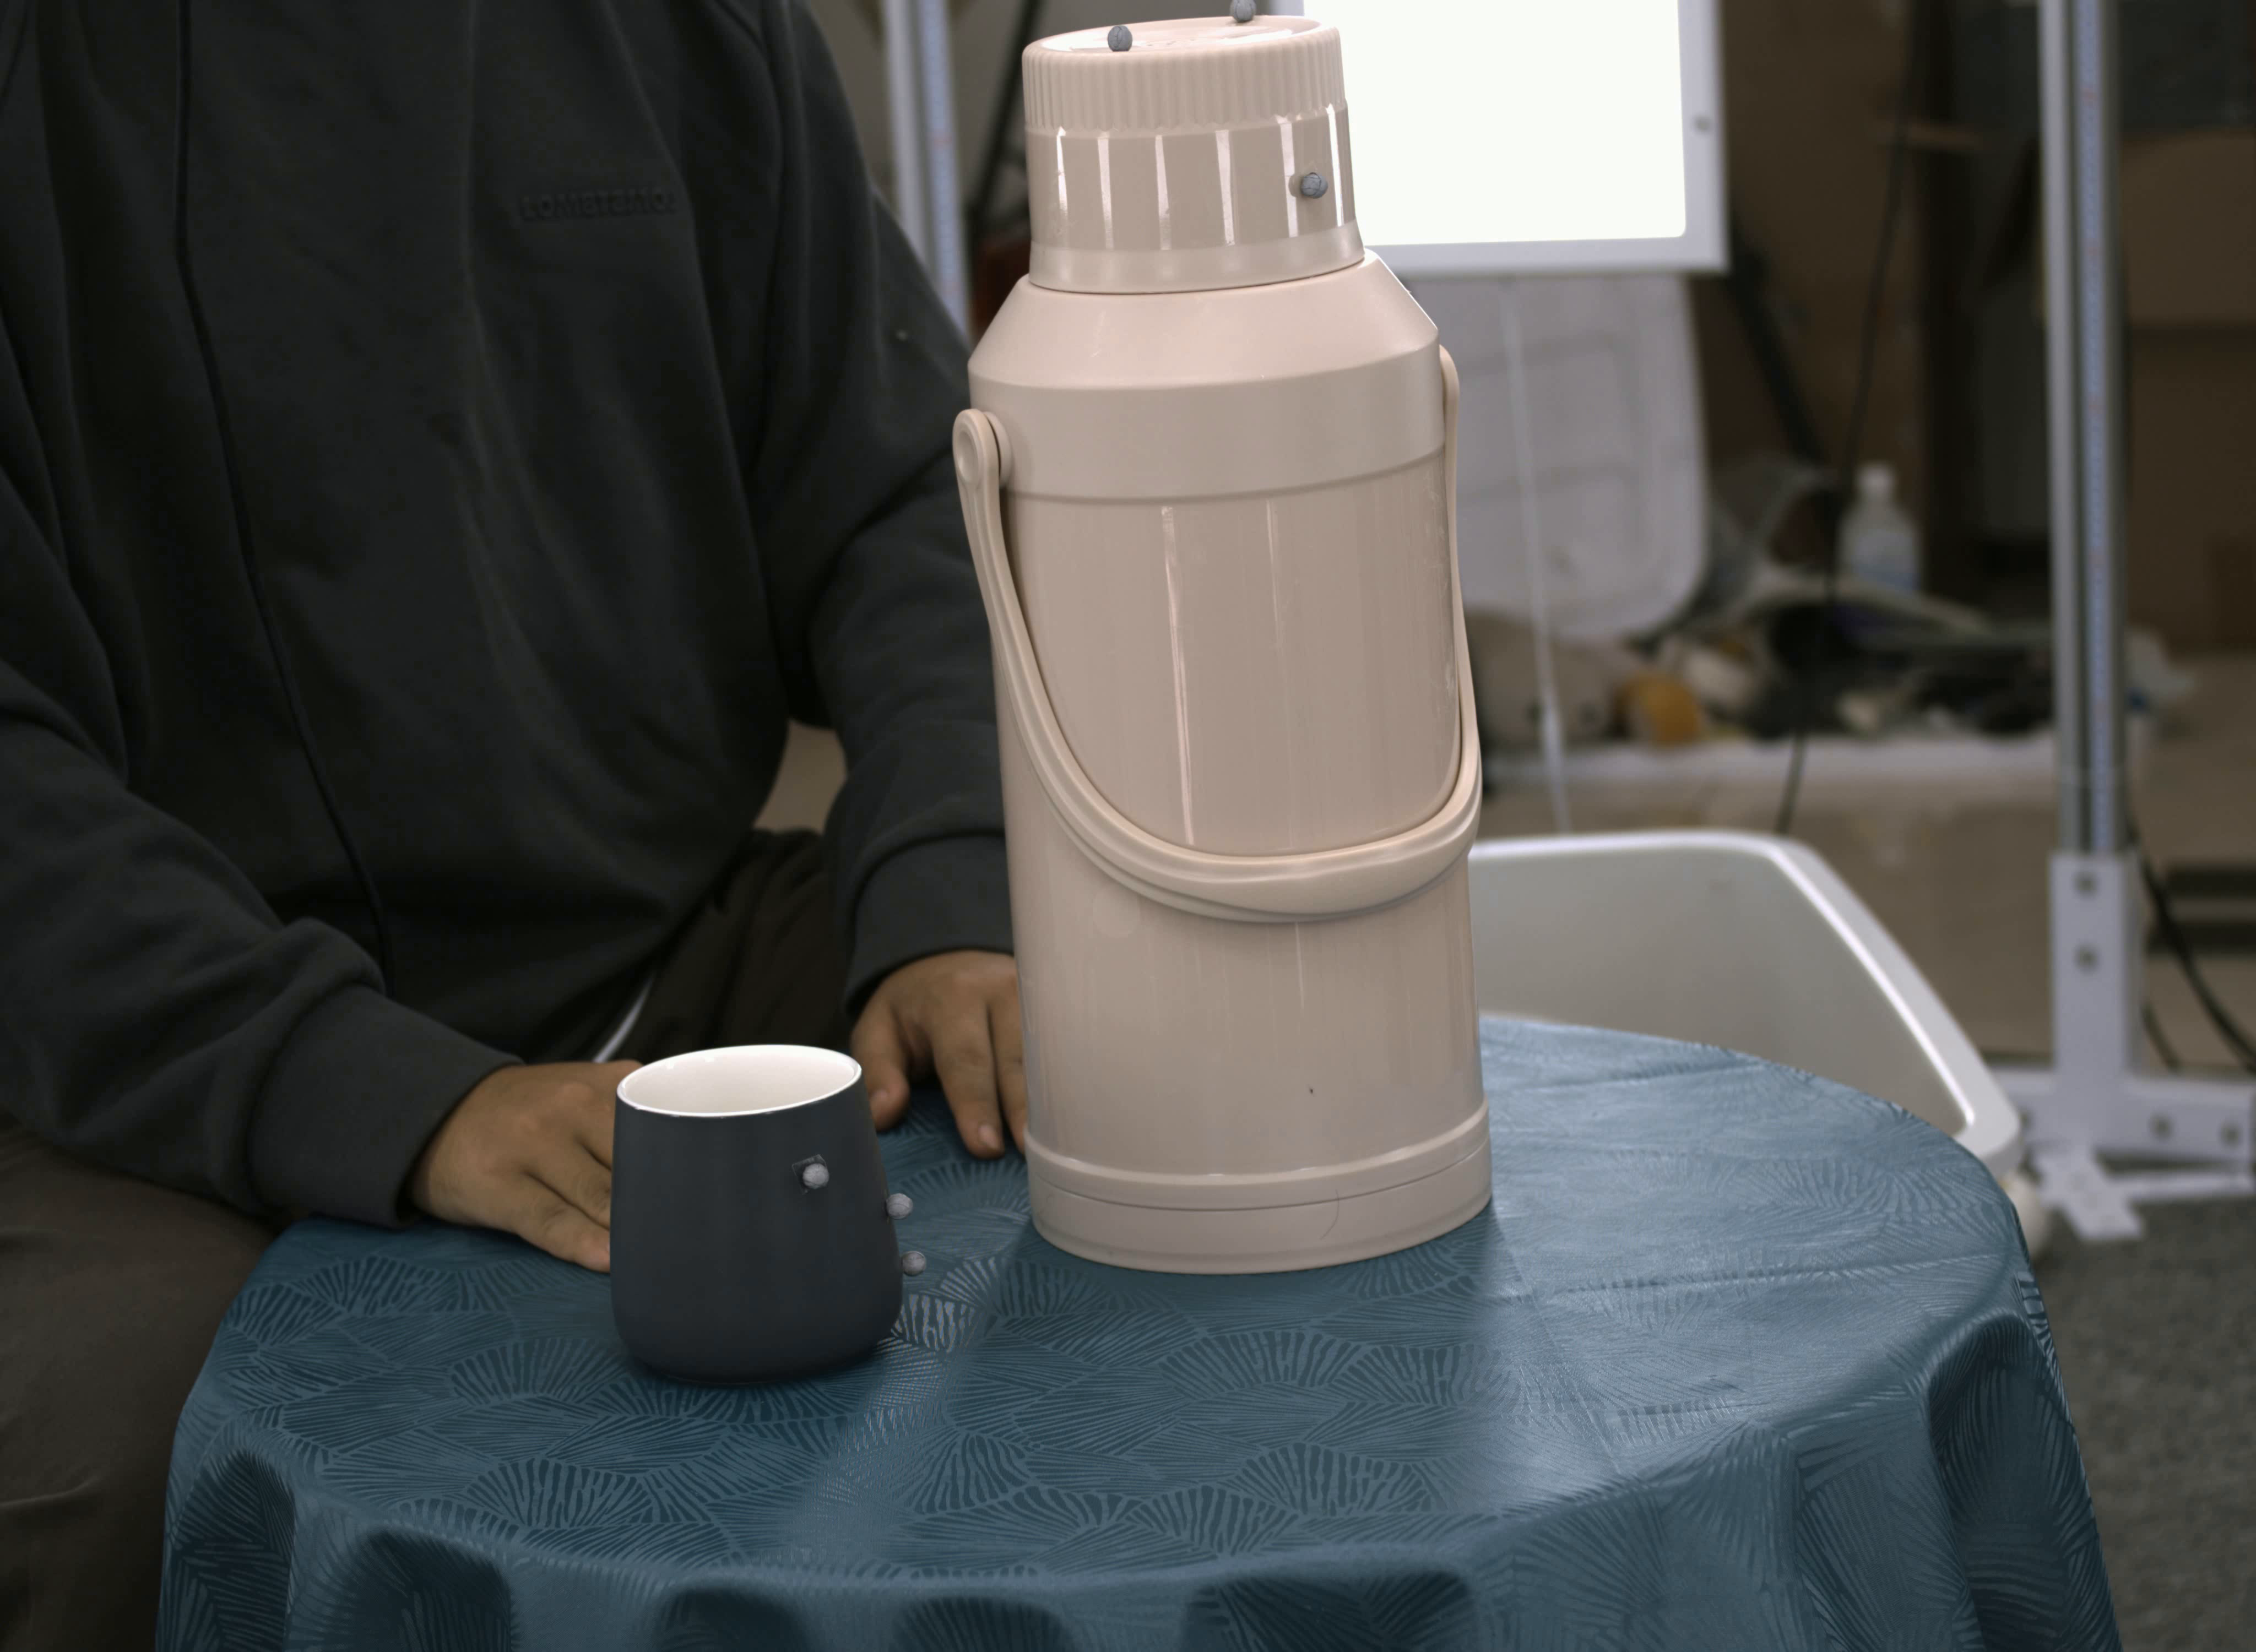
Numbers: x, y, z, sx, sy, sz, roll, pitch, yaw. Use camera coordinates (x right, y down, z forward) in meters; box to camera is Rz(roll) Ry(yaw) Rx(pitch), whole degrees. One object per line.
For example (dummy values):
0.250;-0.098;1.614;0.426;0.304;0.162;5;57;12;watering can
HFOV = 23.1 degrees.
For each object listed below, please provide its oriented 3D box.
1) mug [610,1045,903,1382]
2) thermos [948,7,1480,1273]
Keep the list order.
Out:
-0.128;0.121;1.773;0.091;0.090;0.125;-12;15;-29;mug
0.025;-0.067;1.842;0.172;0.408;0.210;-10;15;-23;thermos
